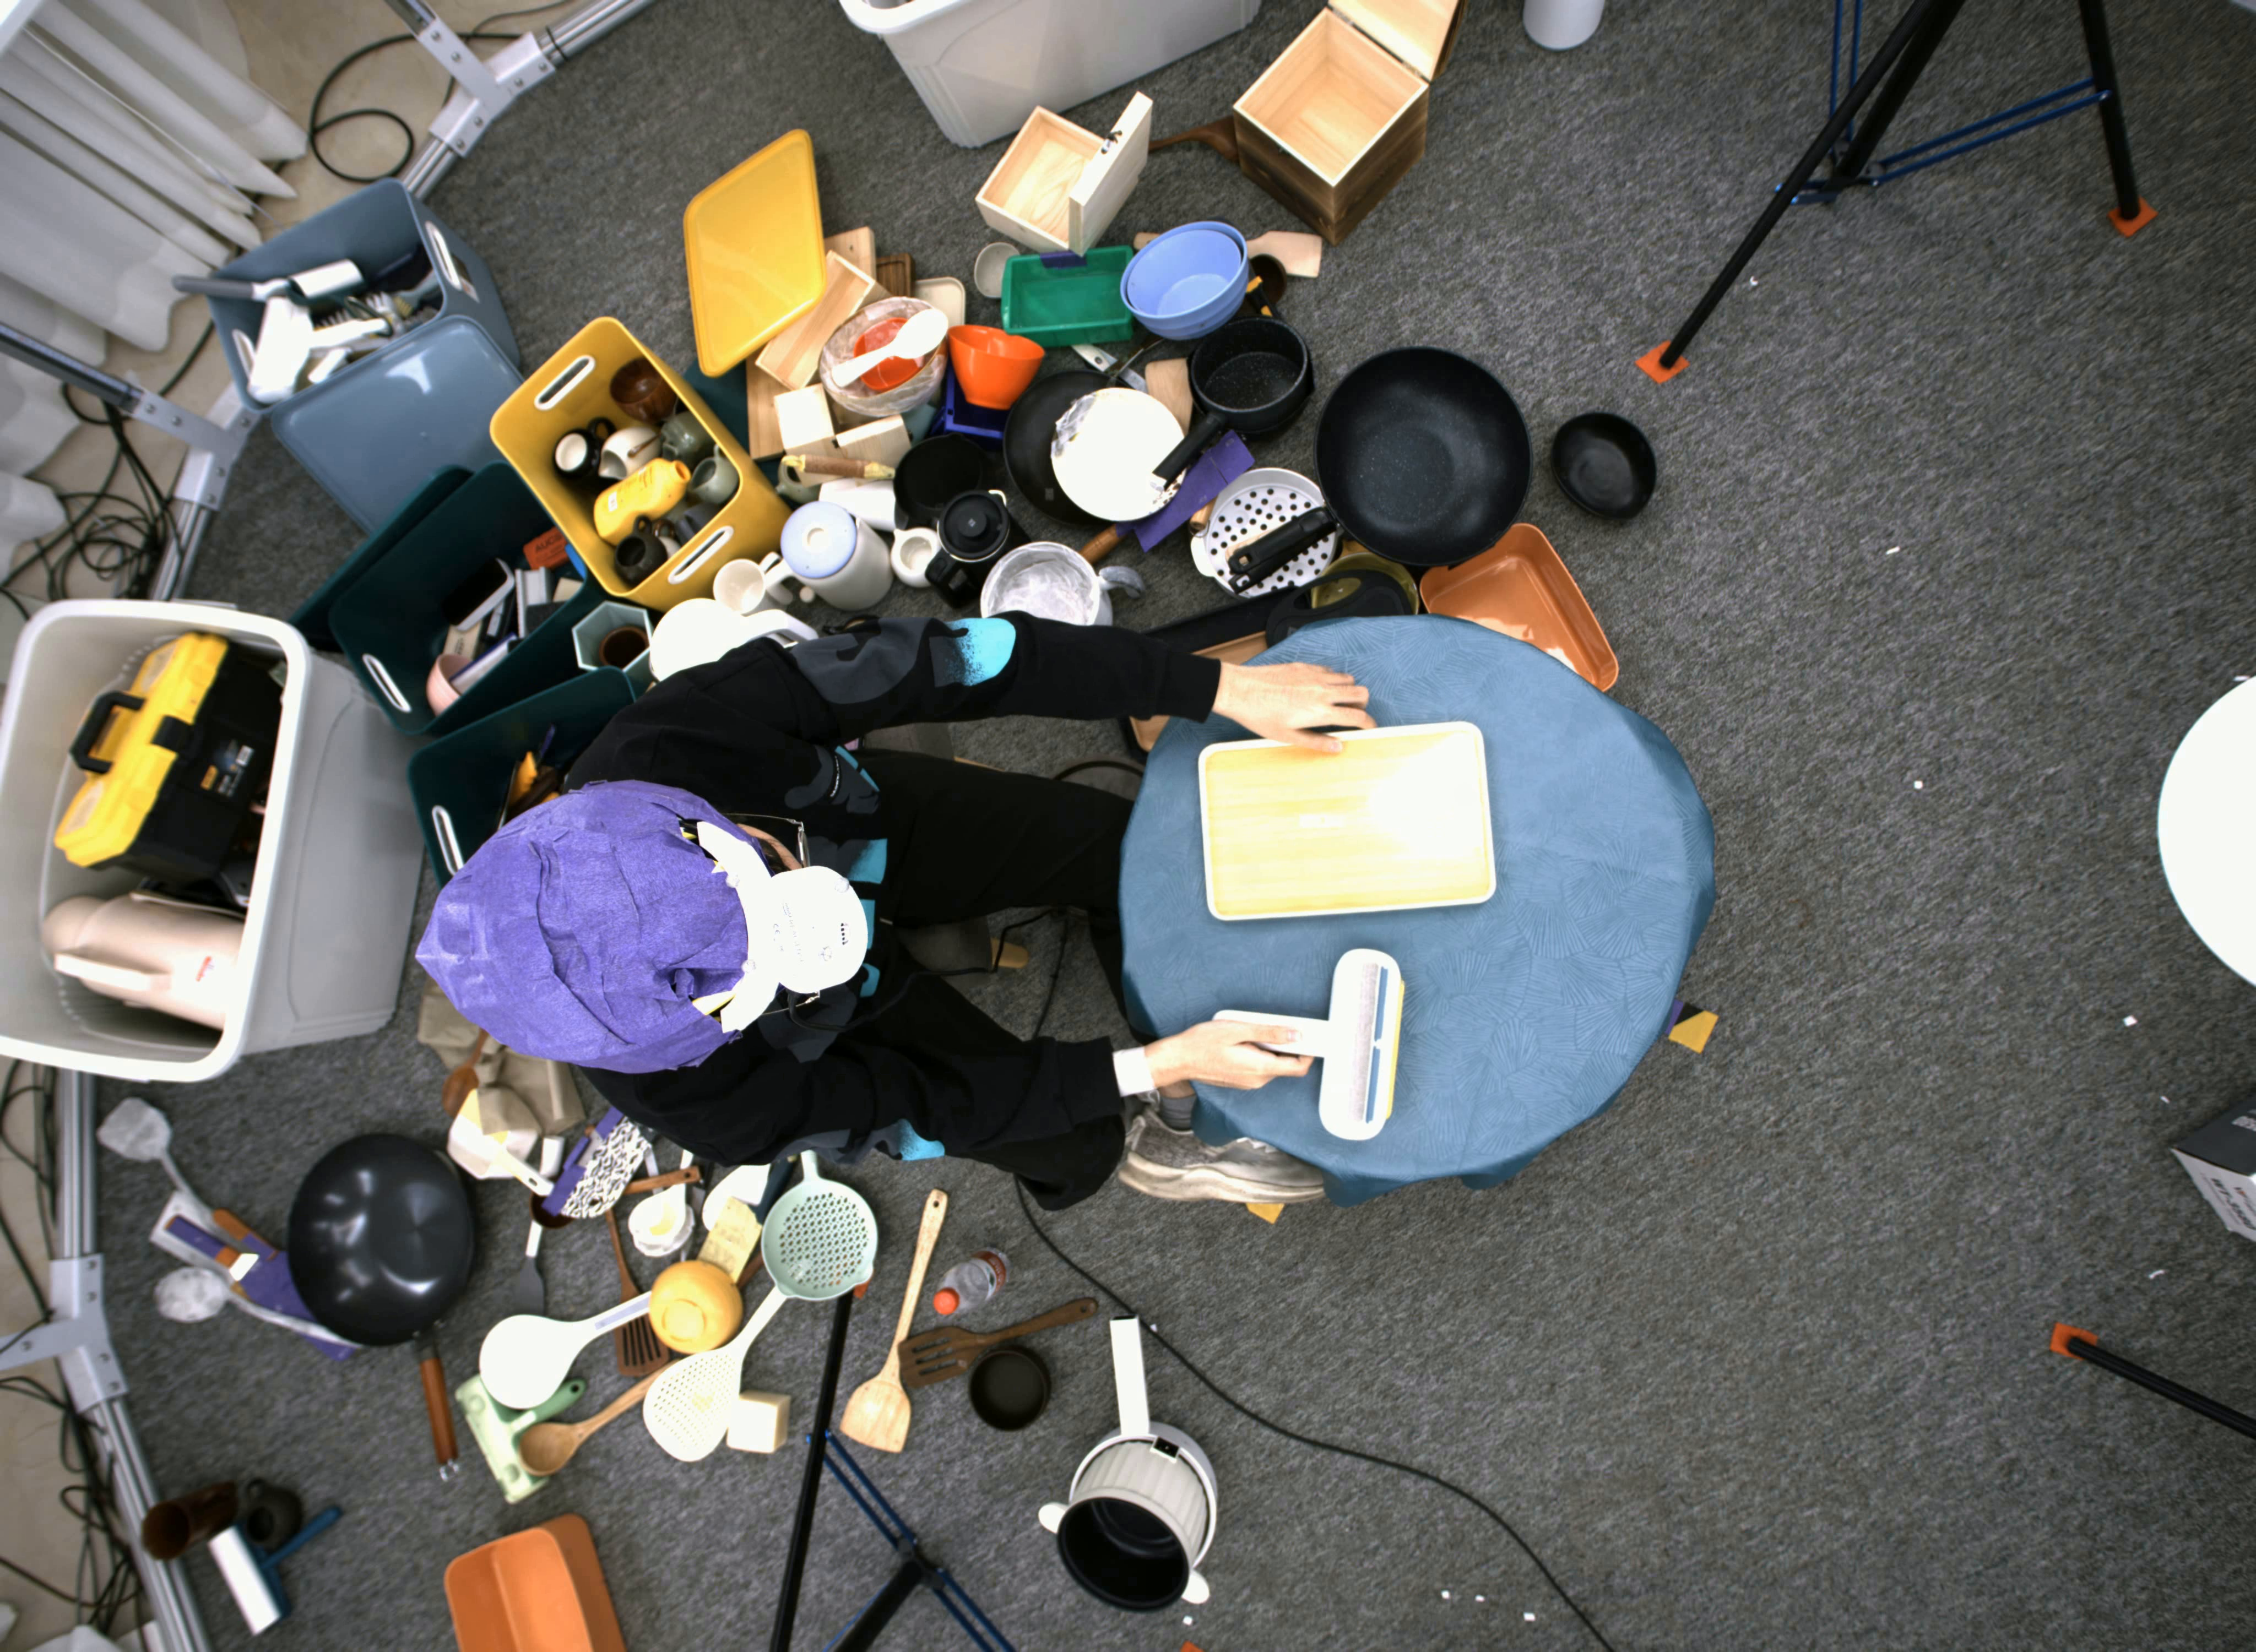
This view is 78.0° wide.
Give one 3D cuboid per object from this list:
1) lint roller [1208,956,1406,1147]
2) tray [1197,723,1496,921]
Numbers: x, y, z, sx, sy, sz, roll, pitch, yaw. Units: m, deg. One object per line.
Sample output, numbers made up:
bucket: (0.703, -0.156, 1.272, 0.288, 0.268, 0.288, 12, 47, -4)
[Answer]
lint roller: (0.178, 0.218, 1.422, 0.193, 0.074, 0.191, 11, 84, 3)
tray: (0.228, -0.004, 1.453, 0.301, 0.027, 0.191, -4, 87, 10)
